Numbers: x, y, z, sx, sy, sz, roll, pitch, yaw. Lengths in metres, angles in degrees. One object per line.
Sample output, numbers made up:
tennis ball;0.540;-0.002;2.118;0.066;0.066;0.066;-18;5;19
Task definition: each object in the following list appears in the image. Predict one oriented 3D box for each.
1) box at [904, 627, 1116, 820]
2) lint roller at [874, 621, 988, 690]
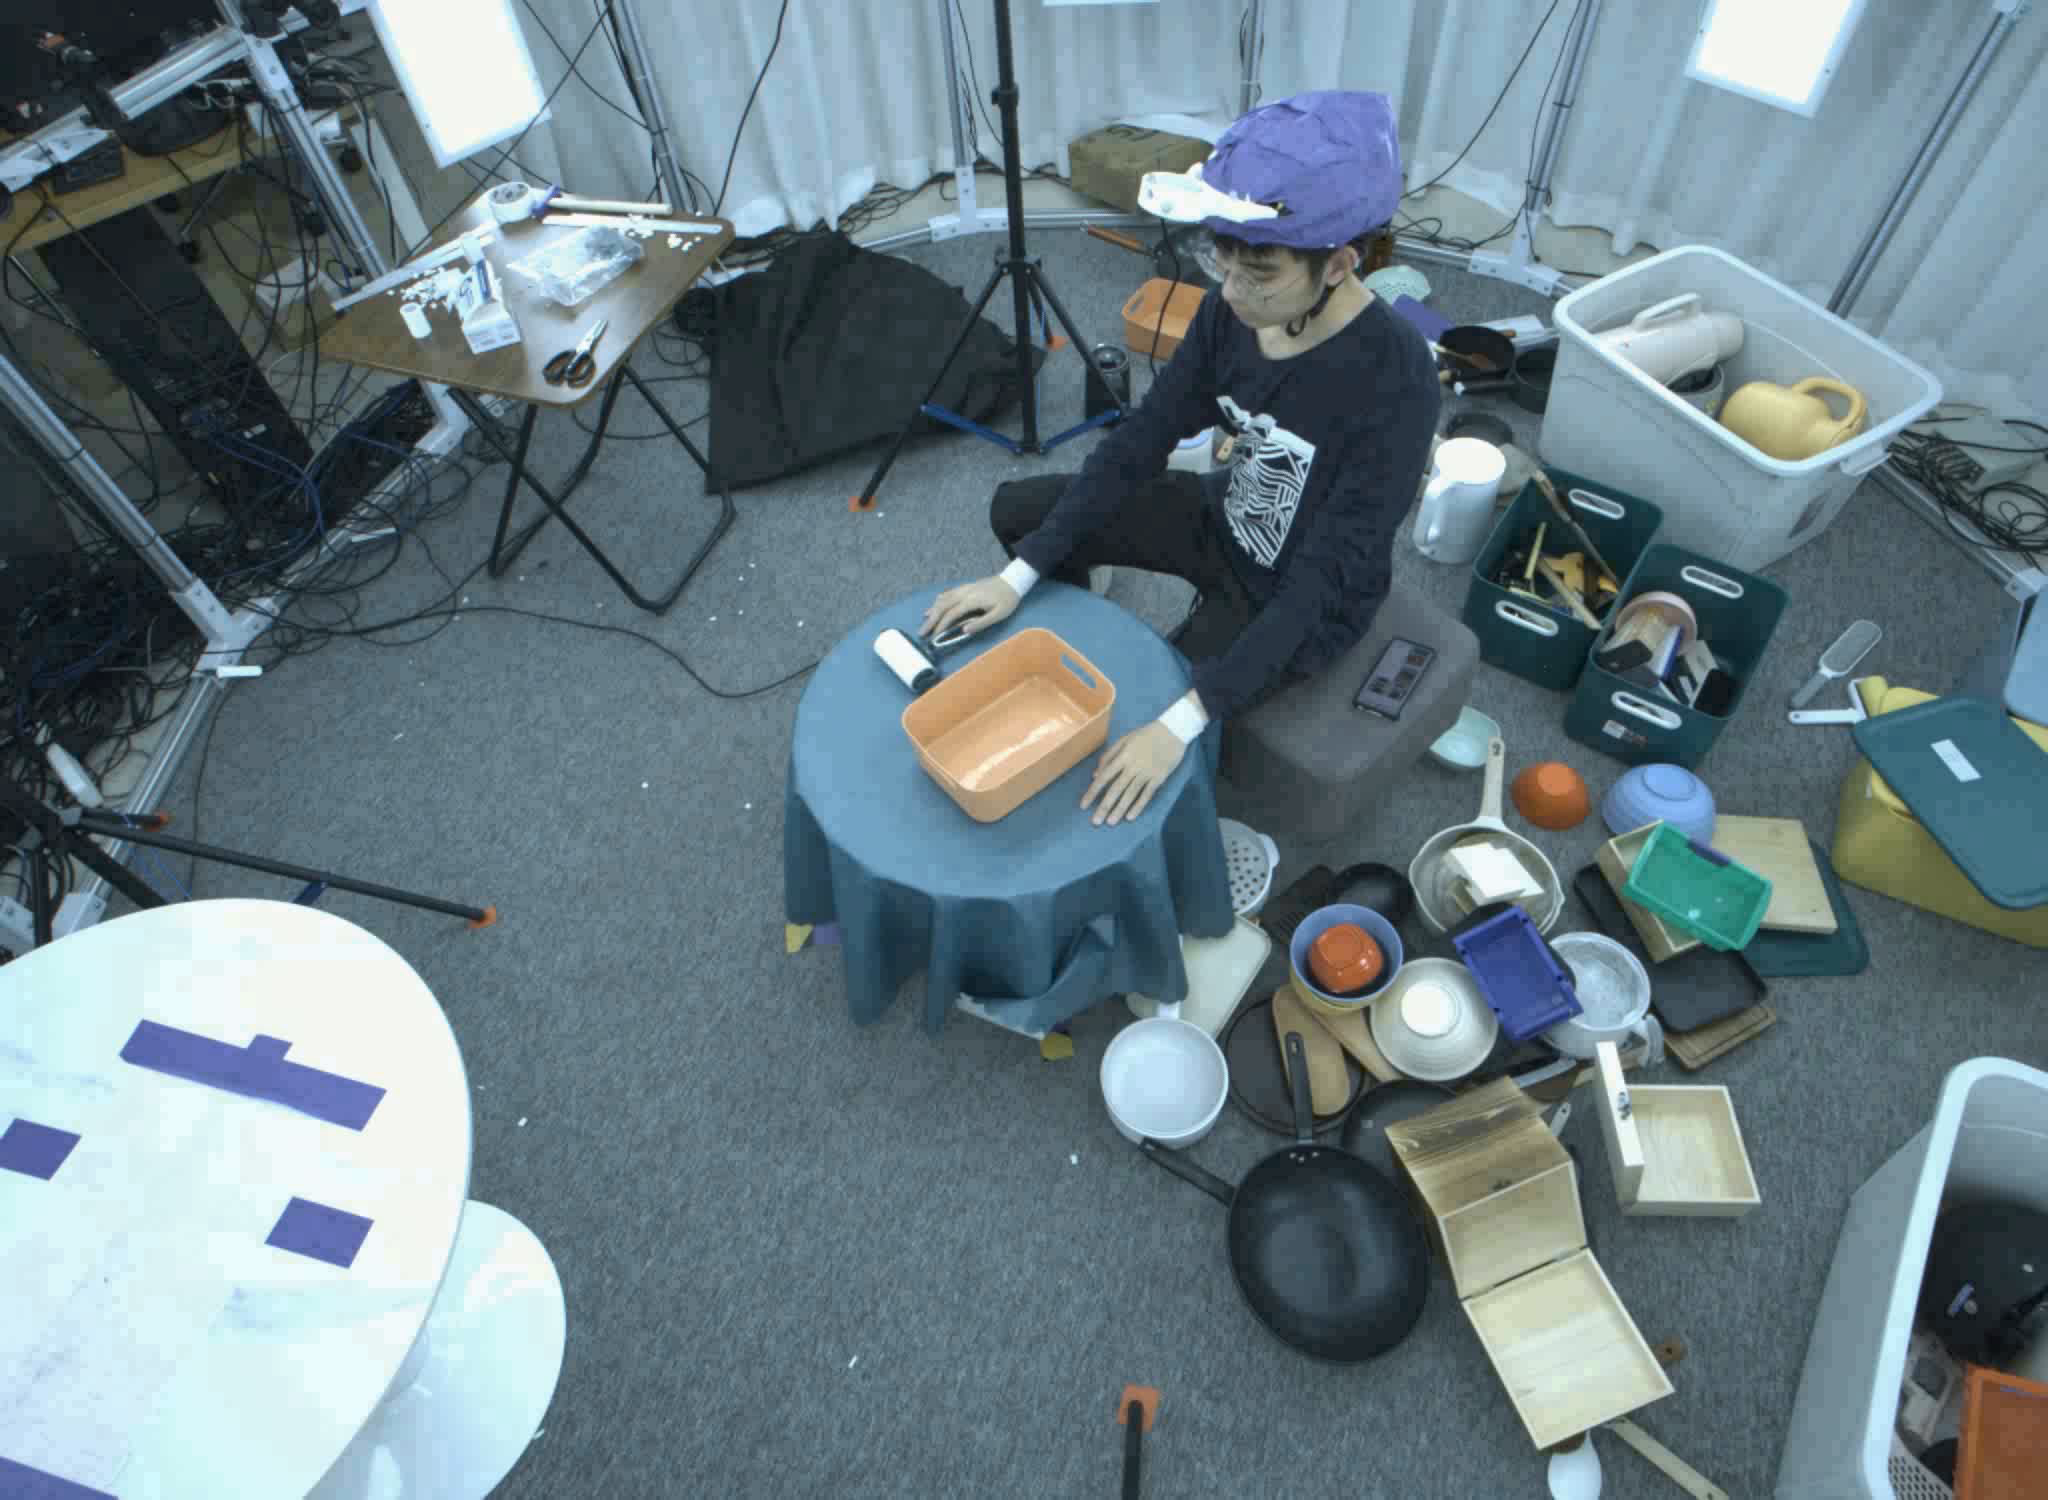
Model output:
box;-0.018;-0.036;1.756;0.275;0.103;0.196;-36;61;-22
lint roller;-0.130;-0.170;1.896;0.182;0.049;0.132;-31;59;-24
